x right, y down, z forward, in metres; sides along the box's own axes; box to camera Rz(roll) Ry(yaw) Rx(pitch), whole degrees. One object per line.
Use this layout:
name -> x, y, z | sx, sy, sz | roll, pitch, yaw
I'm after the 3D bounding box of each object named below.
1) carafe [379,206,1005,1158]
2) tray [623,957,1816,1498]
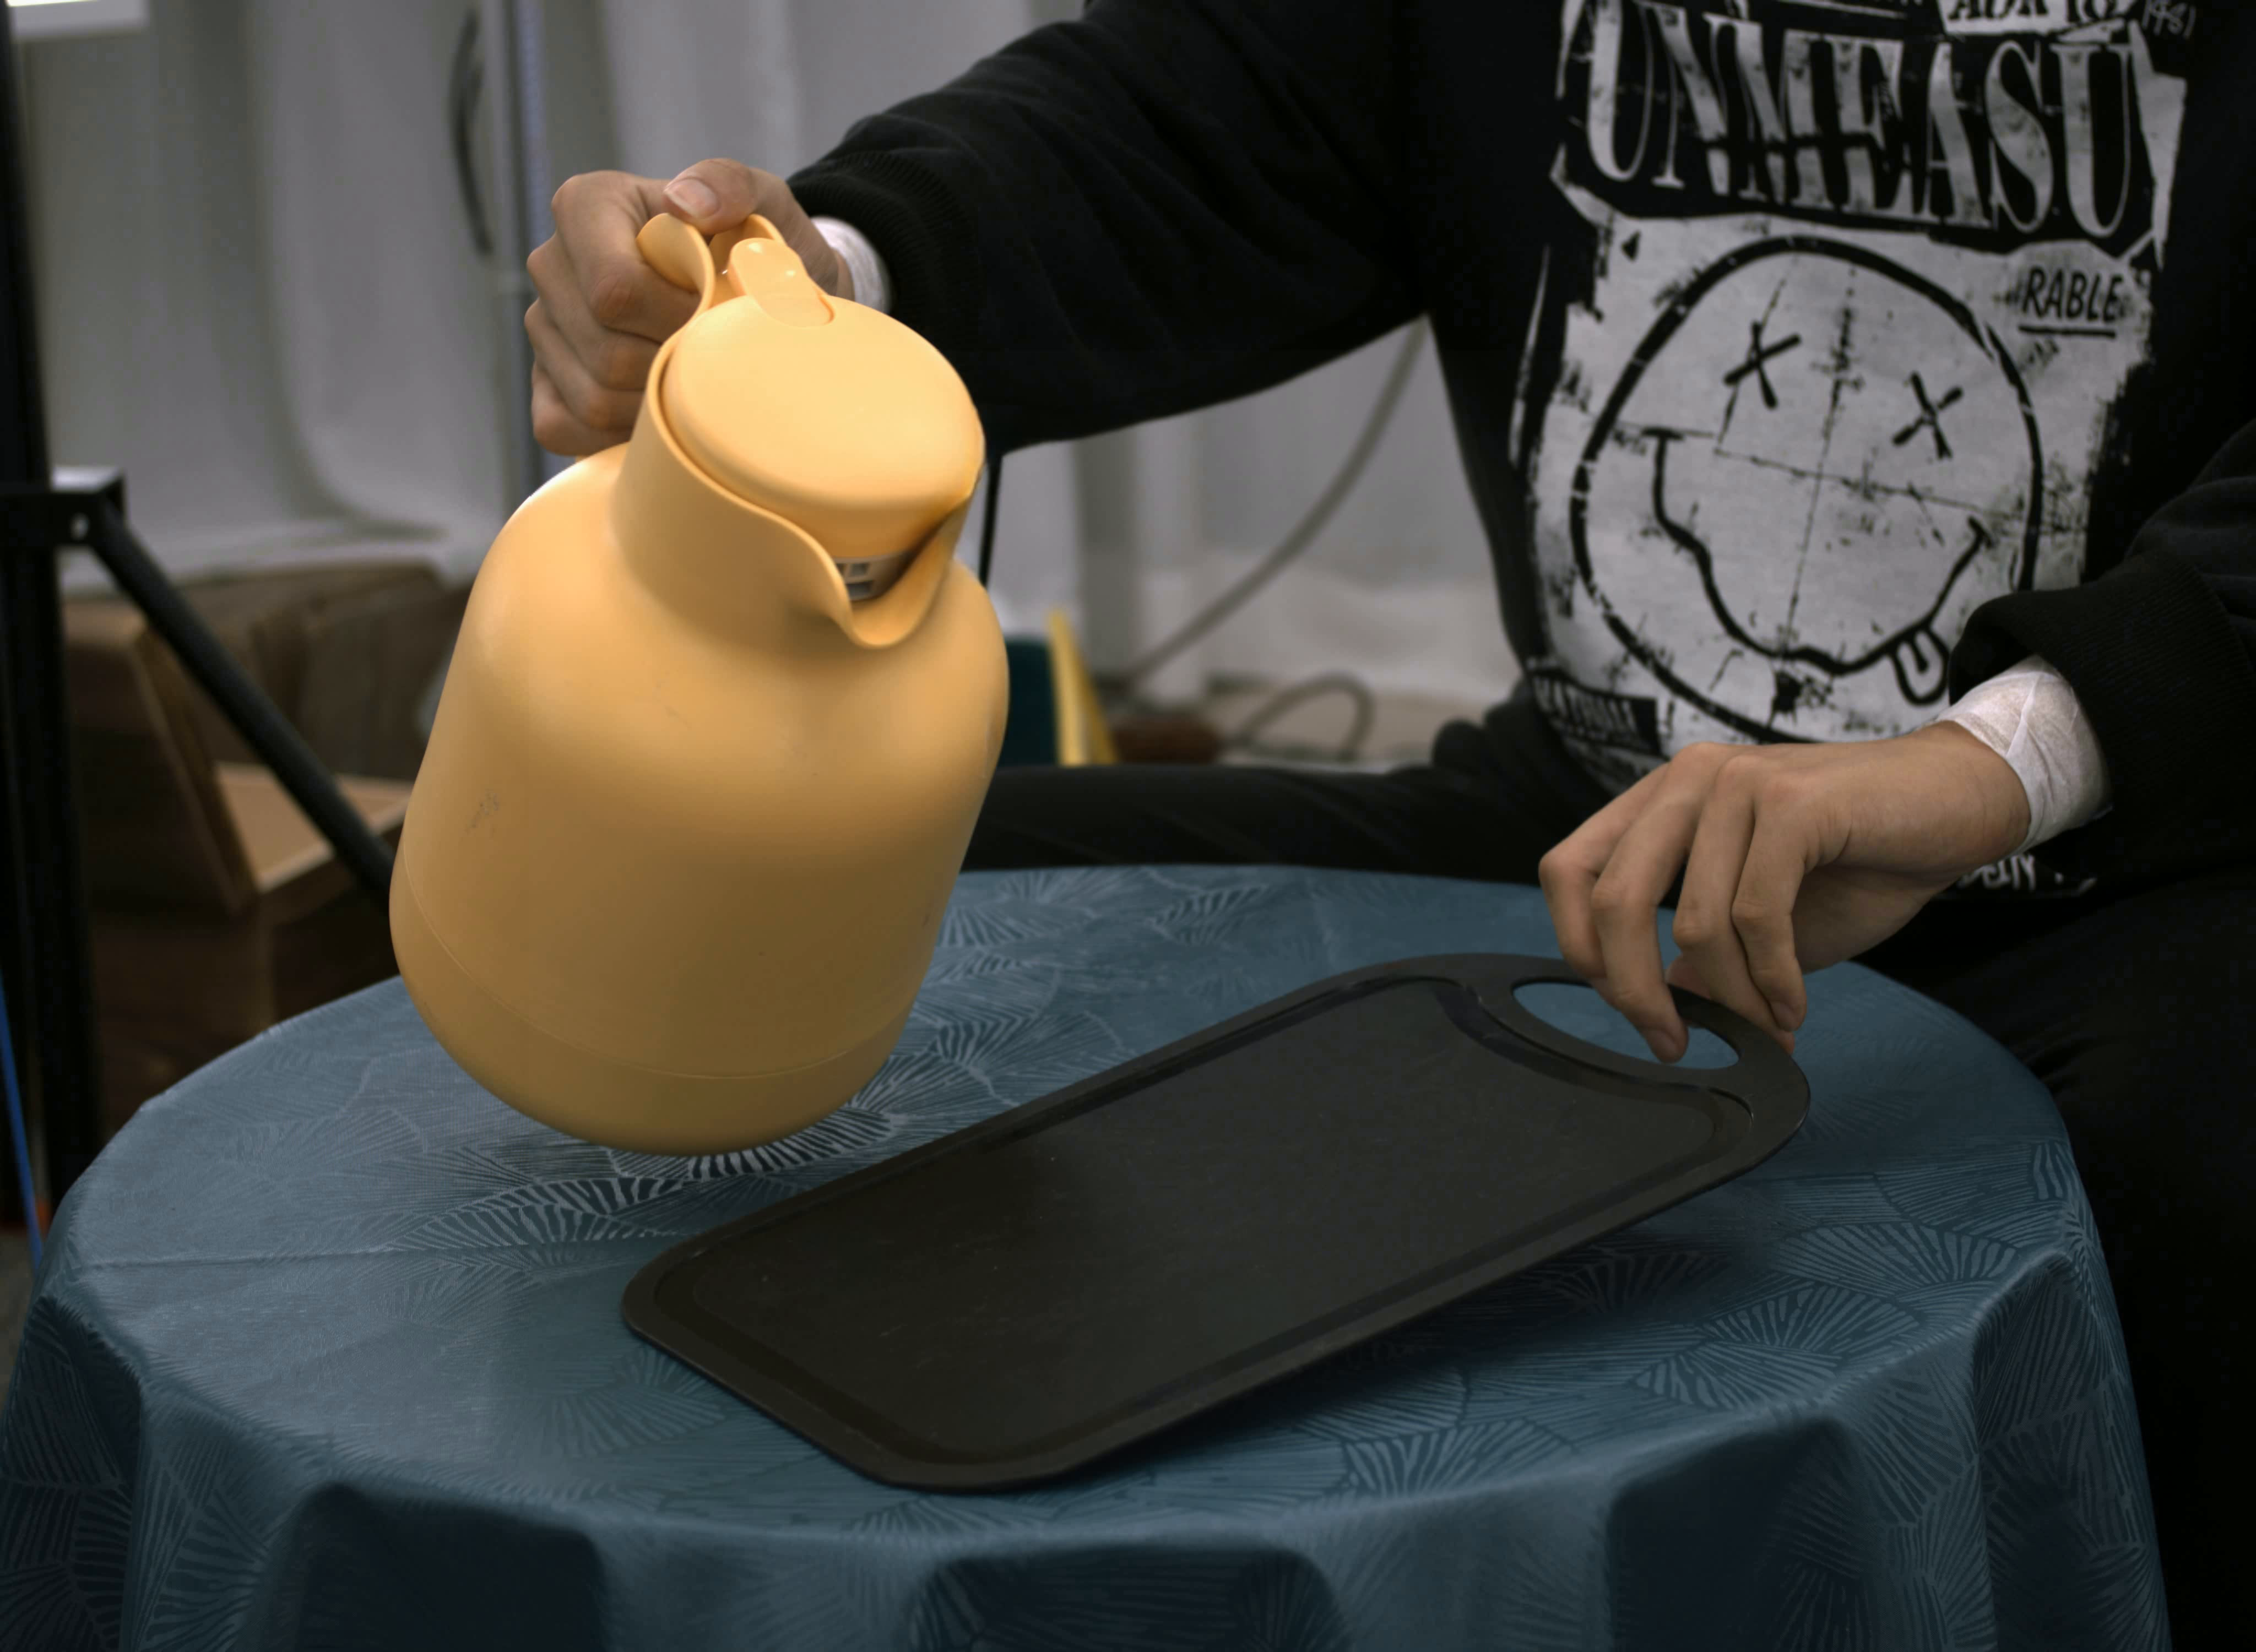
carafe -> -0.122, -0.049, 1.564 | 0.160, 0.261, 0.206 | 1, 46, -24
tray -> 0.032, 0.101, 1.479 | 0.319, 0.010, 0.216 | -21, 23, -26
